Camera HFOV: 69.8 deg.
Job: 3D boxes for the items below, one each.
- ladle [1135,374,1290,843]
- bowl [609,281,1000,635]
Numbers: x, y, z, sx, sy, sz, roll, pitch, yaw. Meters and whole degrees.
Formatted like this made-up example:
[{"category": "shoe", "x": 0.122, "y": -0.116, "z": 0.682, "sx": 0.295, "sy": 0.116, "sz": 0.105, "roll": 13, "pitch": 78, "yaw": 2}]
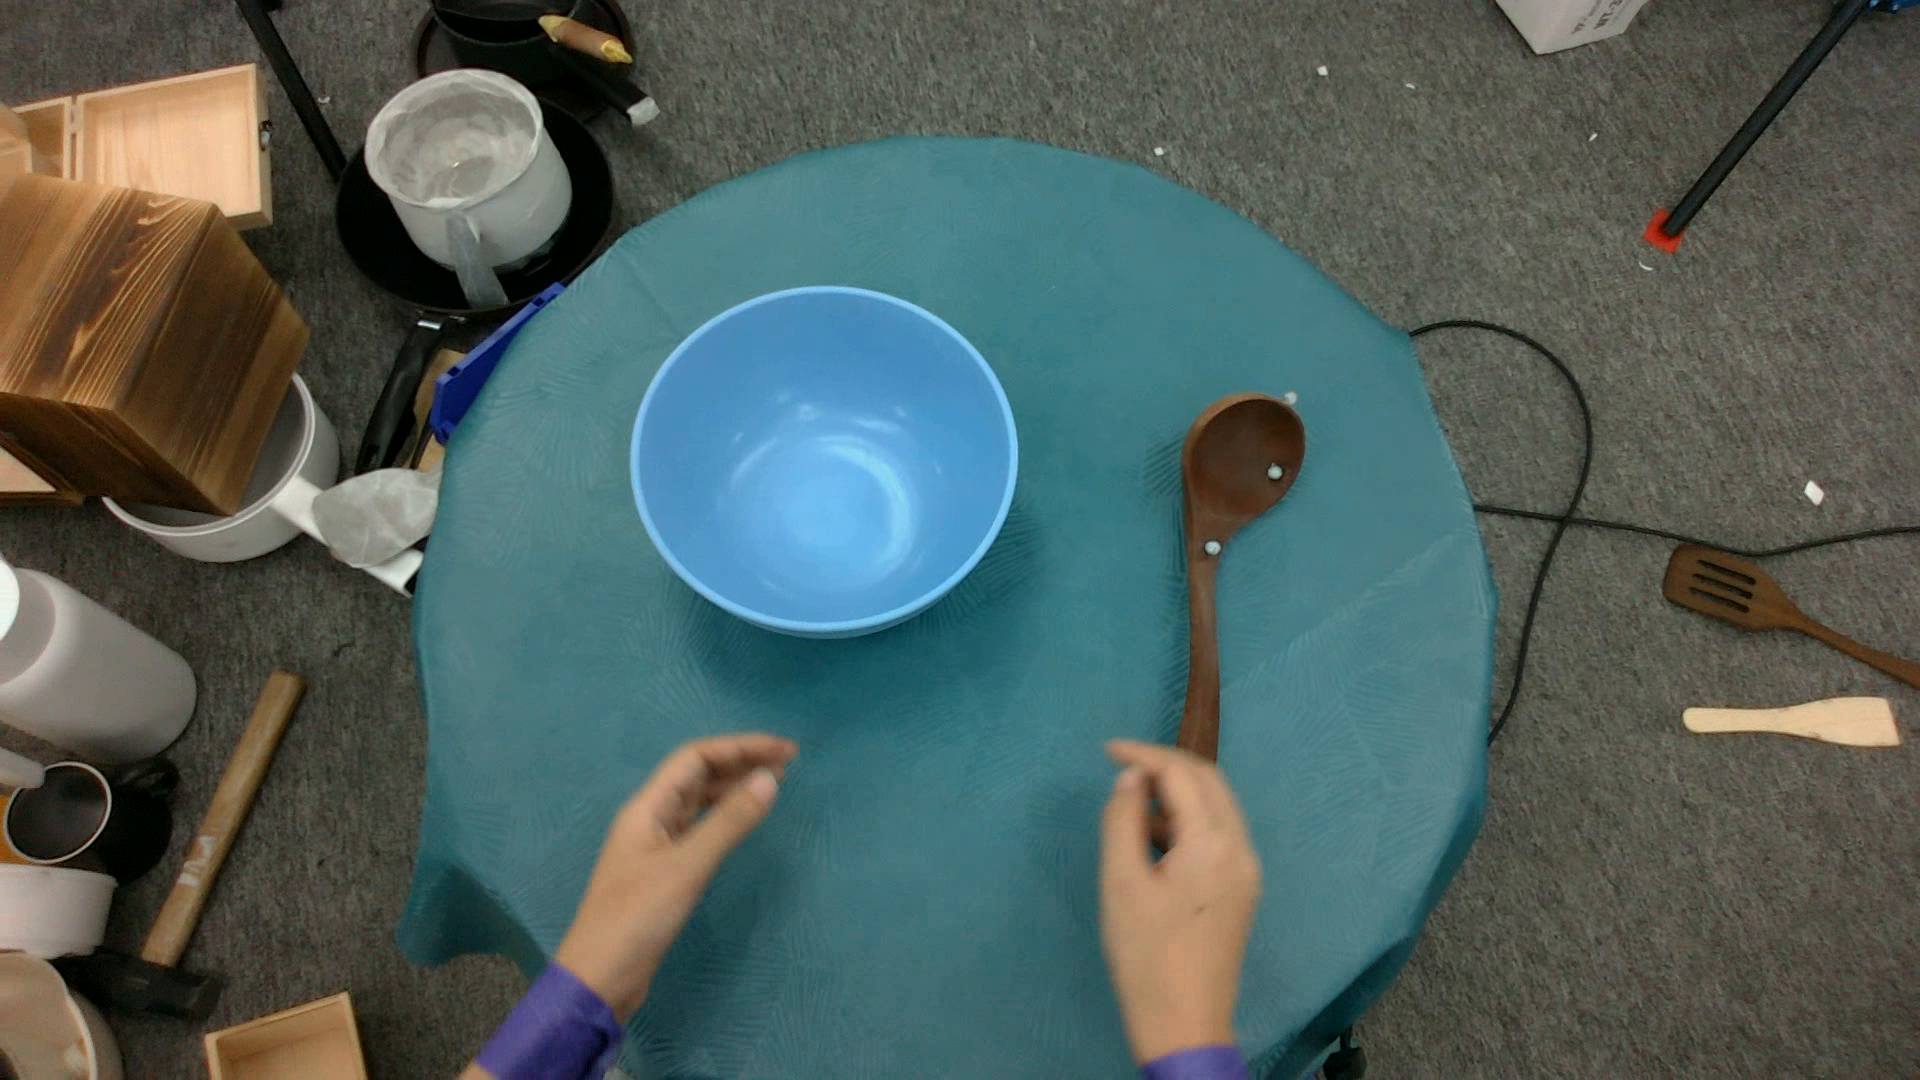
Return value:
[{"category": "ladle", "x": 0.133, "y": 0.031, "z": 0.741, "sx": 0.076, "sy": 0.065, "sz": 0.261, "roll": 21, "pitch": 64, "yaw": -25}, {"category": "bowl", "x": -0.083, "y": -0.031, "z": 0.734, "sx": 0.196, "sy": 0.095, "sz": 0.197, "roll": 4, "pitch": 64, "yaw": -8}]
